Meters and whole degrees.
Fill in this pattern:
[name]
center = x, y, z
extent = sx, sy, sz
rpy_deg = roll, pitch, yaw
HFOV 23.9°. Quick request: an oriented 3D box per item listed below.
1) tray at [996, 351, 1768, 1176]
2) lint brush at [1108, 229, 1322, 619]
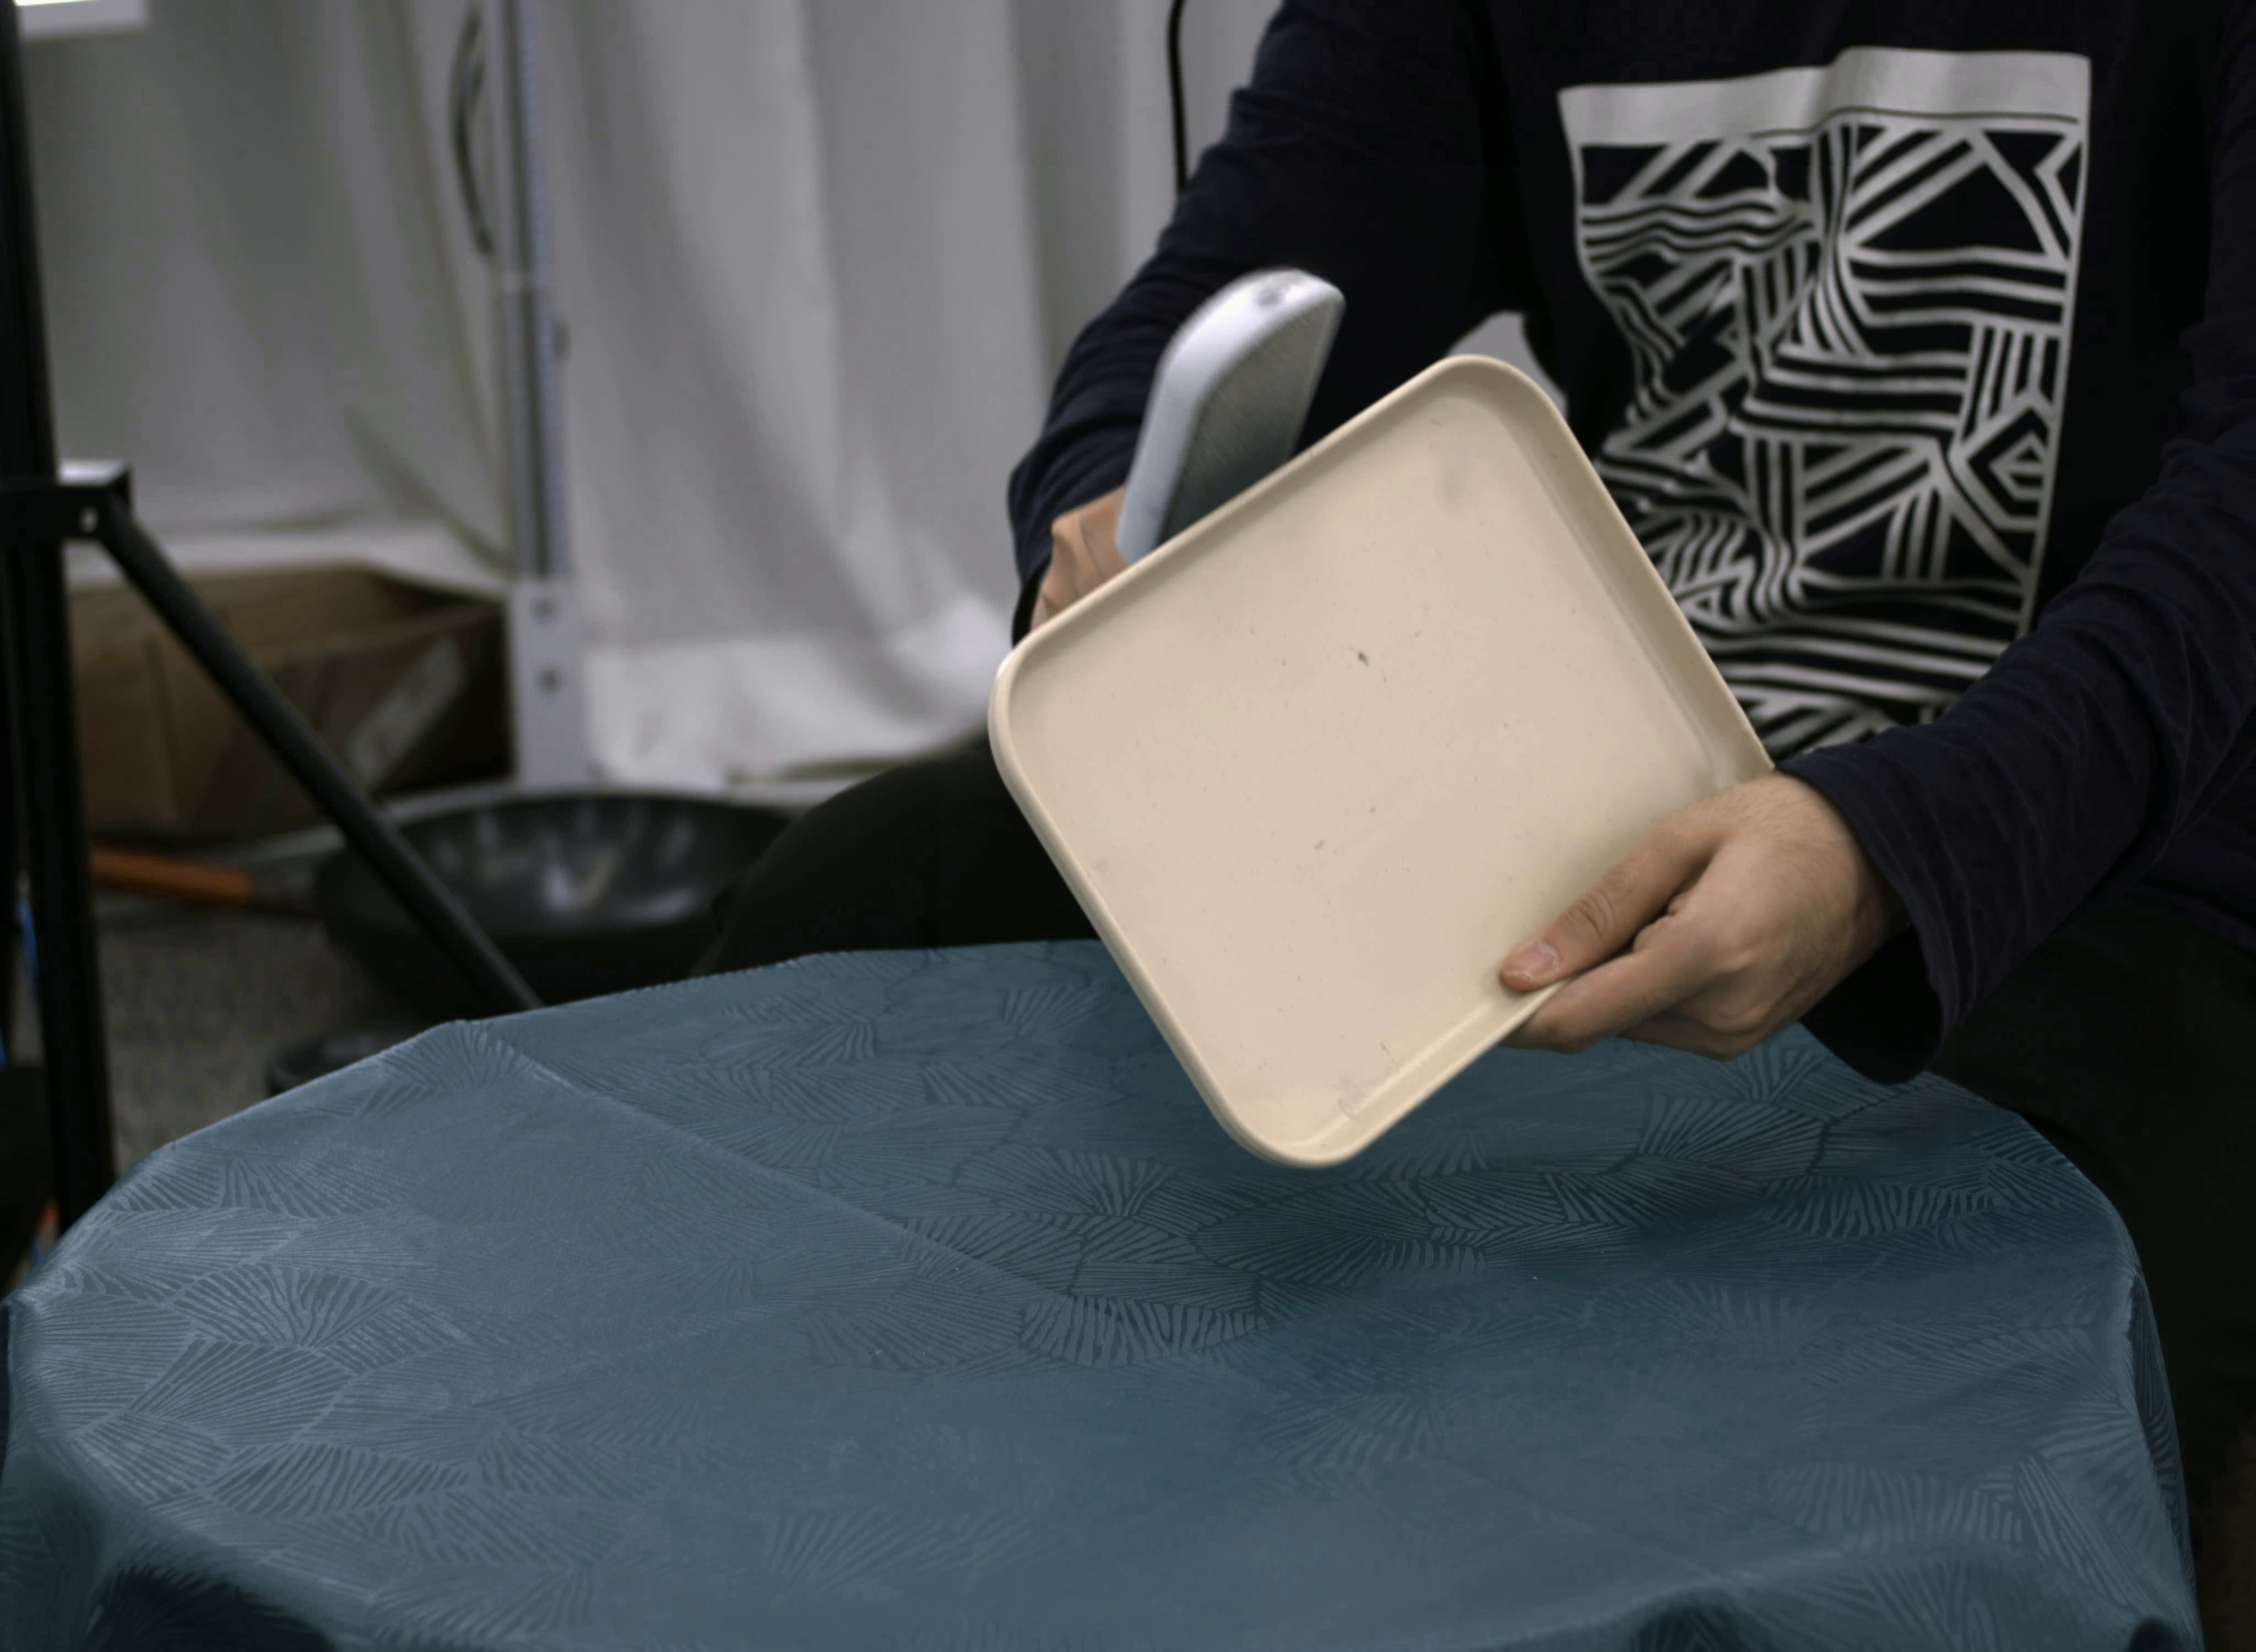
[tray]
center = 0.074, -0.020, 1.507
extent = 0.236, 0.171, 0.018
rpy_deg = -35, 3, -35
[lint brush]
center = 0.020, -0.101, 1.595
extent = 0.059, 0.021, 0.308
rpy_deg = -41, -10, -16
